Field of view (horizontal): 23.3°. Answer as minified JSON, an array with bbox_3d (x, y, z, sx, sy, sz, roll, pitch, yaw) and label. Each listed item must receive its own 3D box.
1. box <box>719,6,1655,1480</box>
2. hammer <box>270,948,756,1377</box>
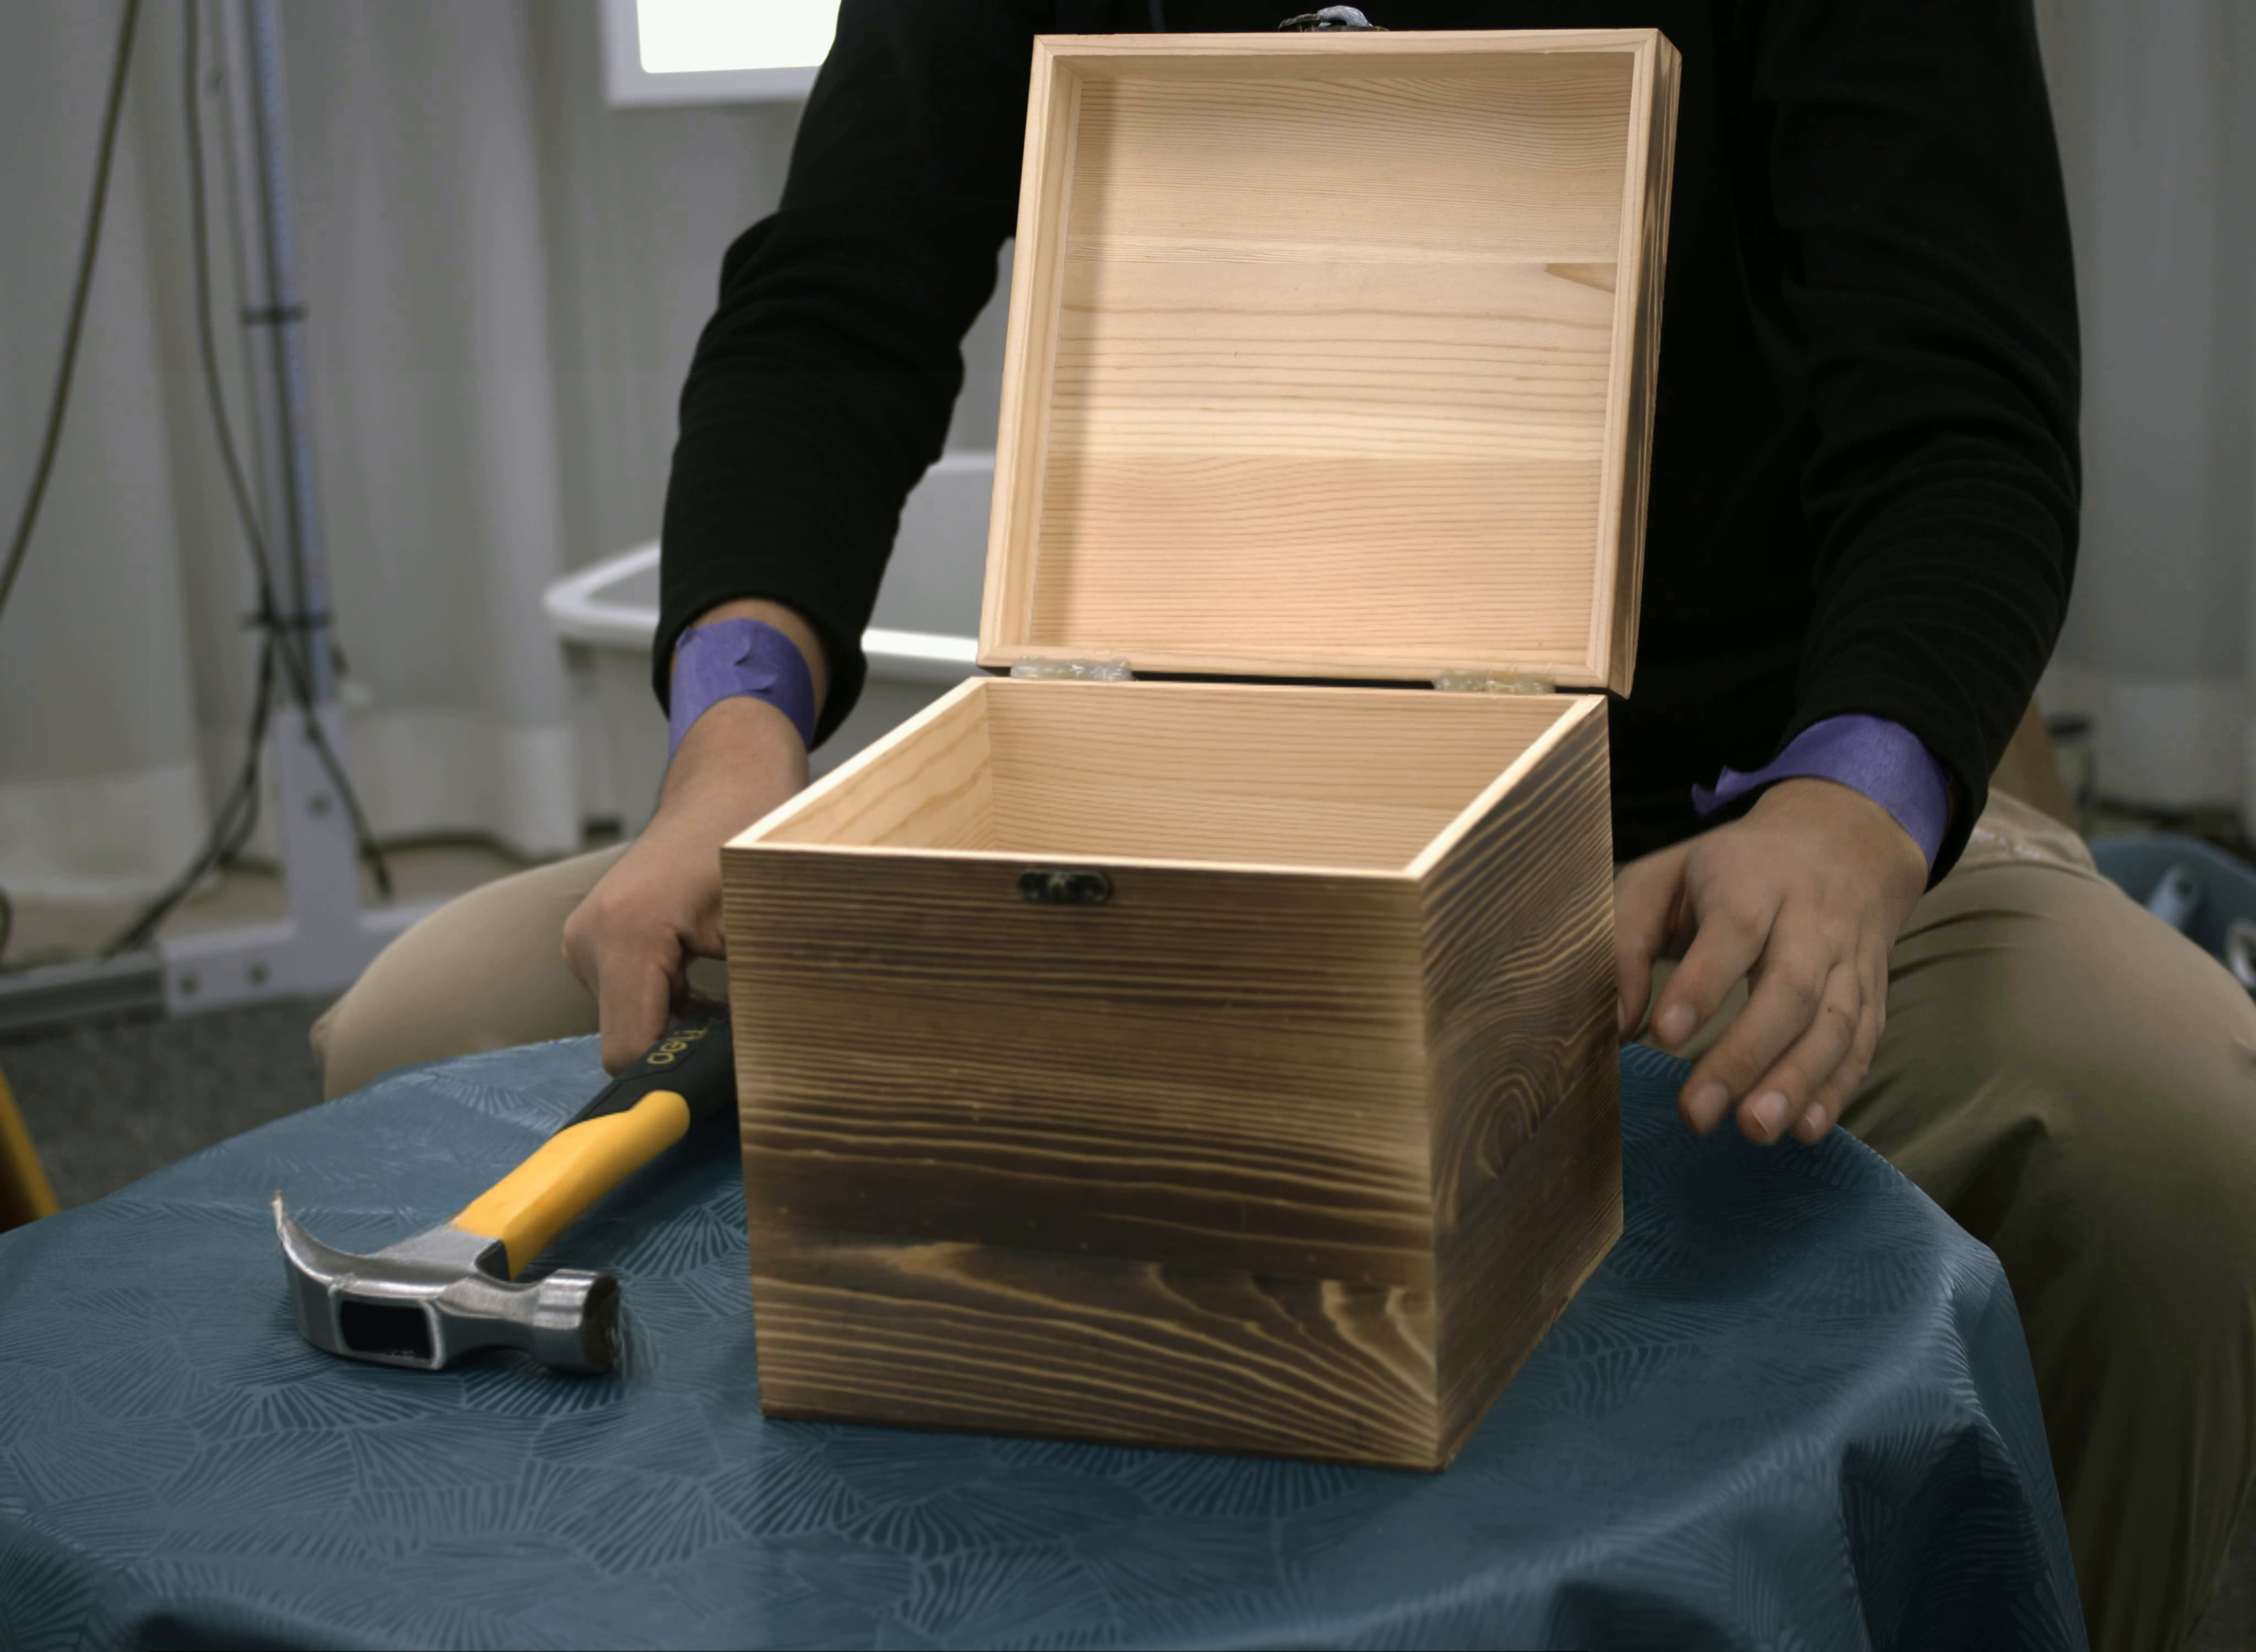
[{"bbox_3d":[0.030,-0.039,1.600,0.209,0.374,0.323,2,13,20],"label":"box"},{"bbox_3d":[-0.156,0.090,1.734,0.131,0.032,0.340,2,20,22],"label":"hammer"}]
